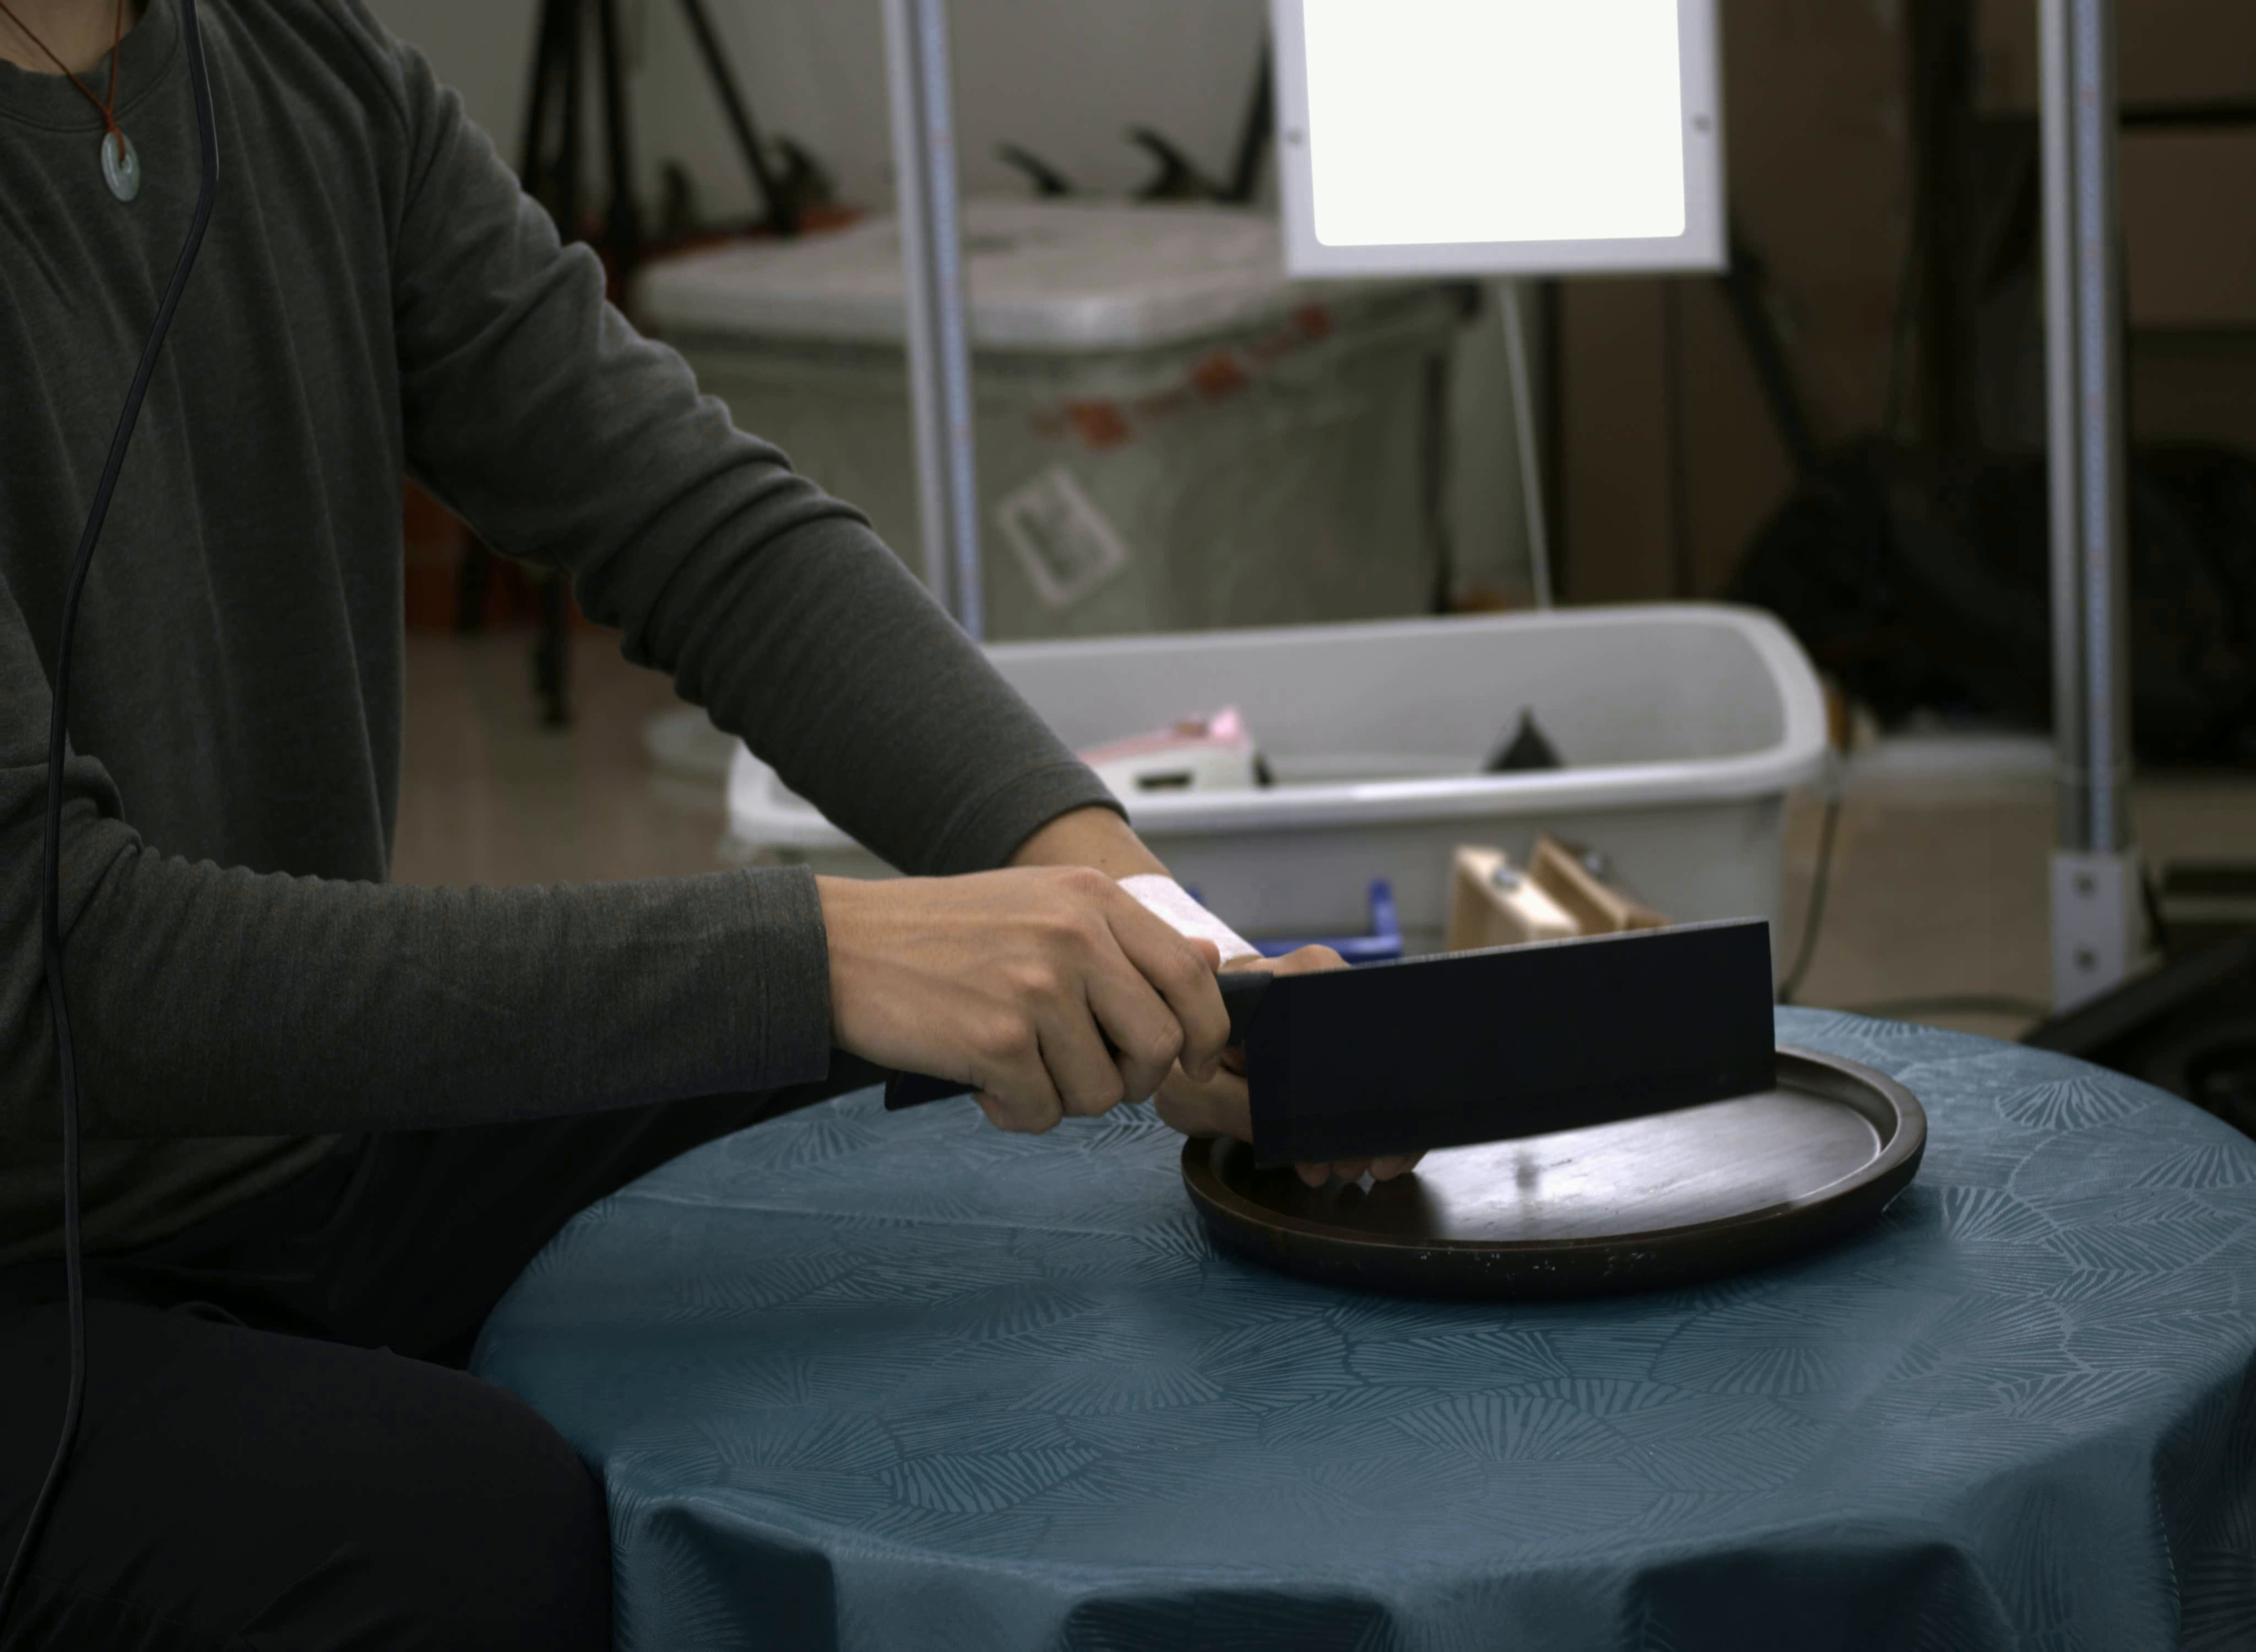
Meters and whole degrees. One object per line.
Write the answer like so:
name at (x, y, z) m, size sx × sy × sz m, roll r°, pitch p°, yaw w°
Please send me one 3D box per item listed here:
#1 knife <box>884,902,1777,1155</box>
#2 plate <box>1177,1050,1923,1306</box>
knife at (0.069, 0.070, 1.823) m, size 0.300 × 0.081 × 0.021 m, roll -3°, pitch 12°, yaw -5°
plate at (0.143, 0.114, 1.856) m, size 0.254 × 0.029 × 0.254 m, roll -5°, pitch 15°, yaw 0°
